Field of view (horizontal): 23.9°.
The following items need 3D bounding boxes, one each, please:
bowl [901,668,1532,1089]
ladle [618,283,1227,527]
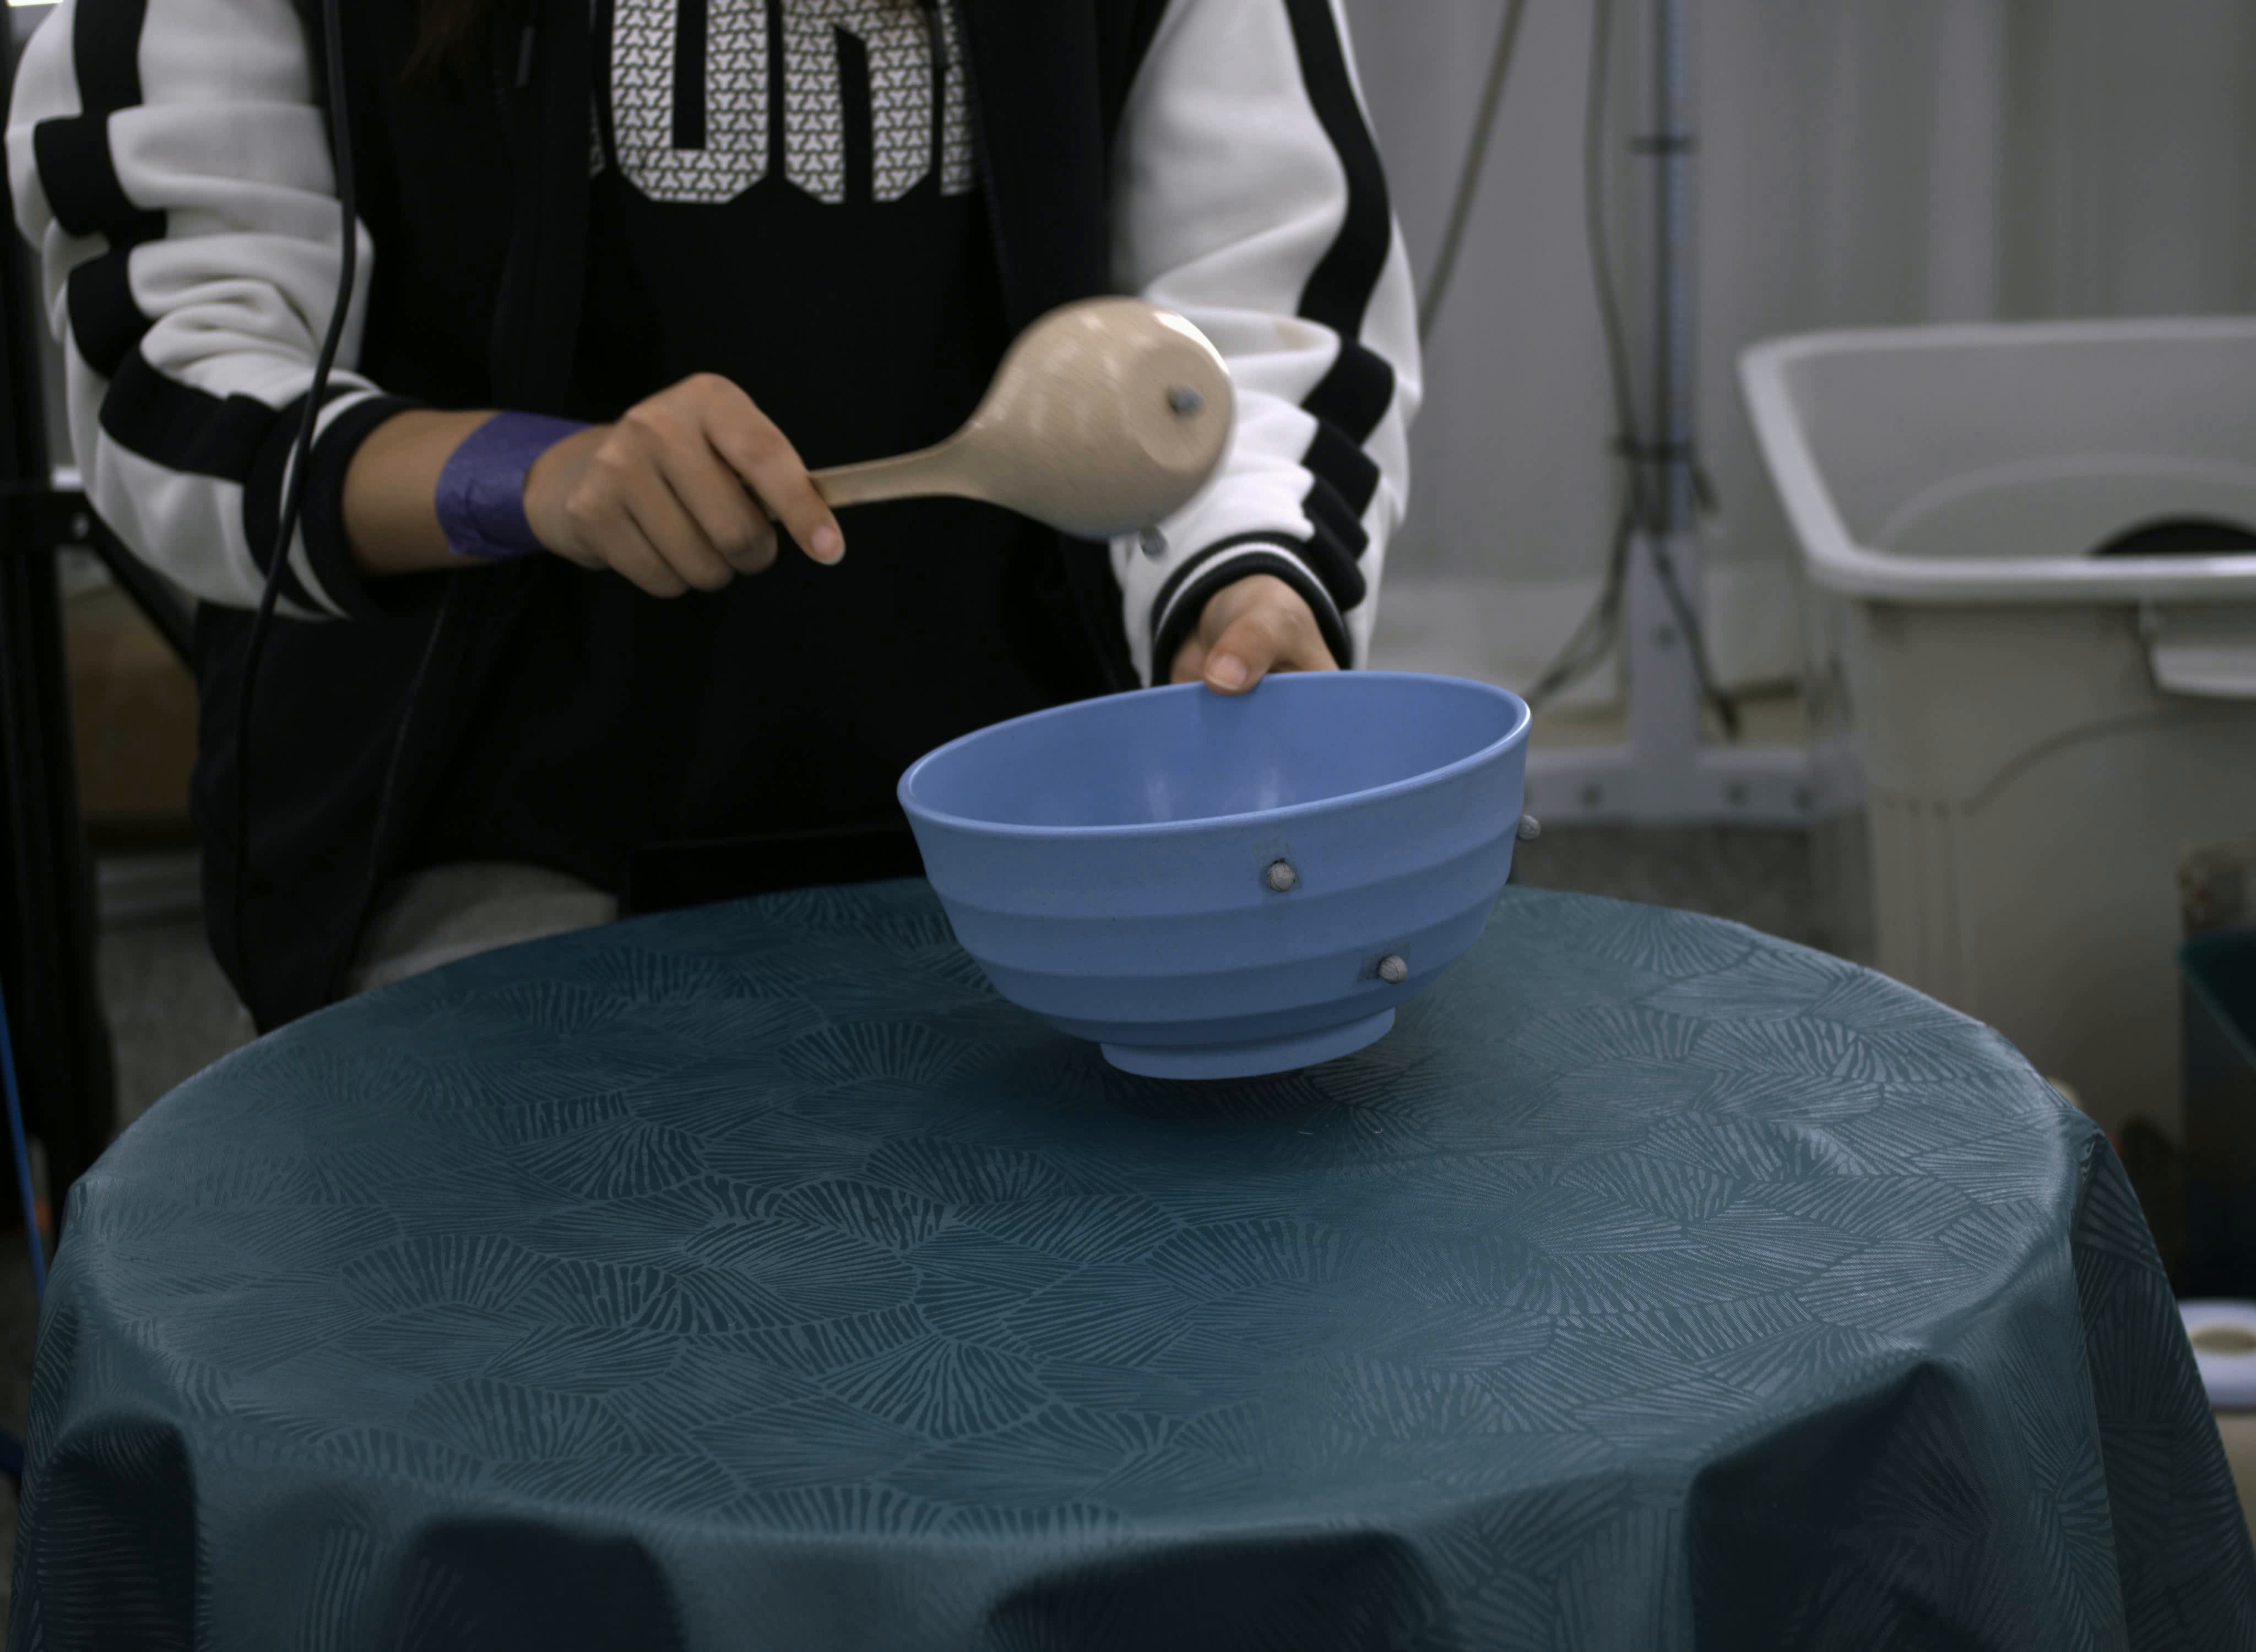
[{"bbox_3d":[0.033,0.022,1.641,0.196,0.095,0.197,-9,13,1],"label":"bowl"},{"bbox_3d":[-0.066,-0.124,1.690,0.071,0.072,0.259,-28,15,-33],"label":"ladle"}]
